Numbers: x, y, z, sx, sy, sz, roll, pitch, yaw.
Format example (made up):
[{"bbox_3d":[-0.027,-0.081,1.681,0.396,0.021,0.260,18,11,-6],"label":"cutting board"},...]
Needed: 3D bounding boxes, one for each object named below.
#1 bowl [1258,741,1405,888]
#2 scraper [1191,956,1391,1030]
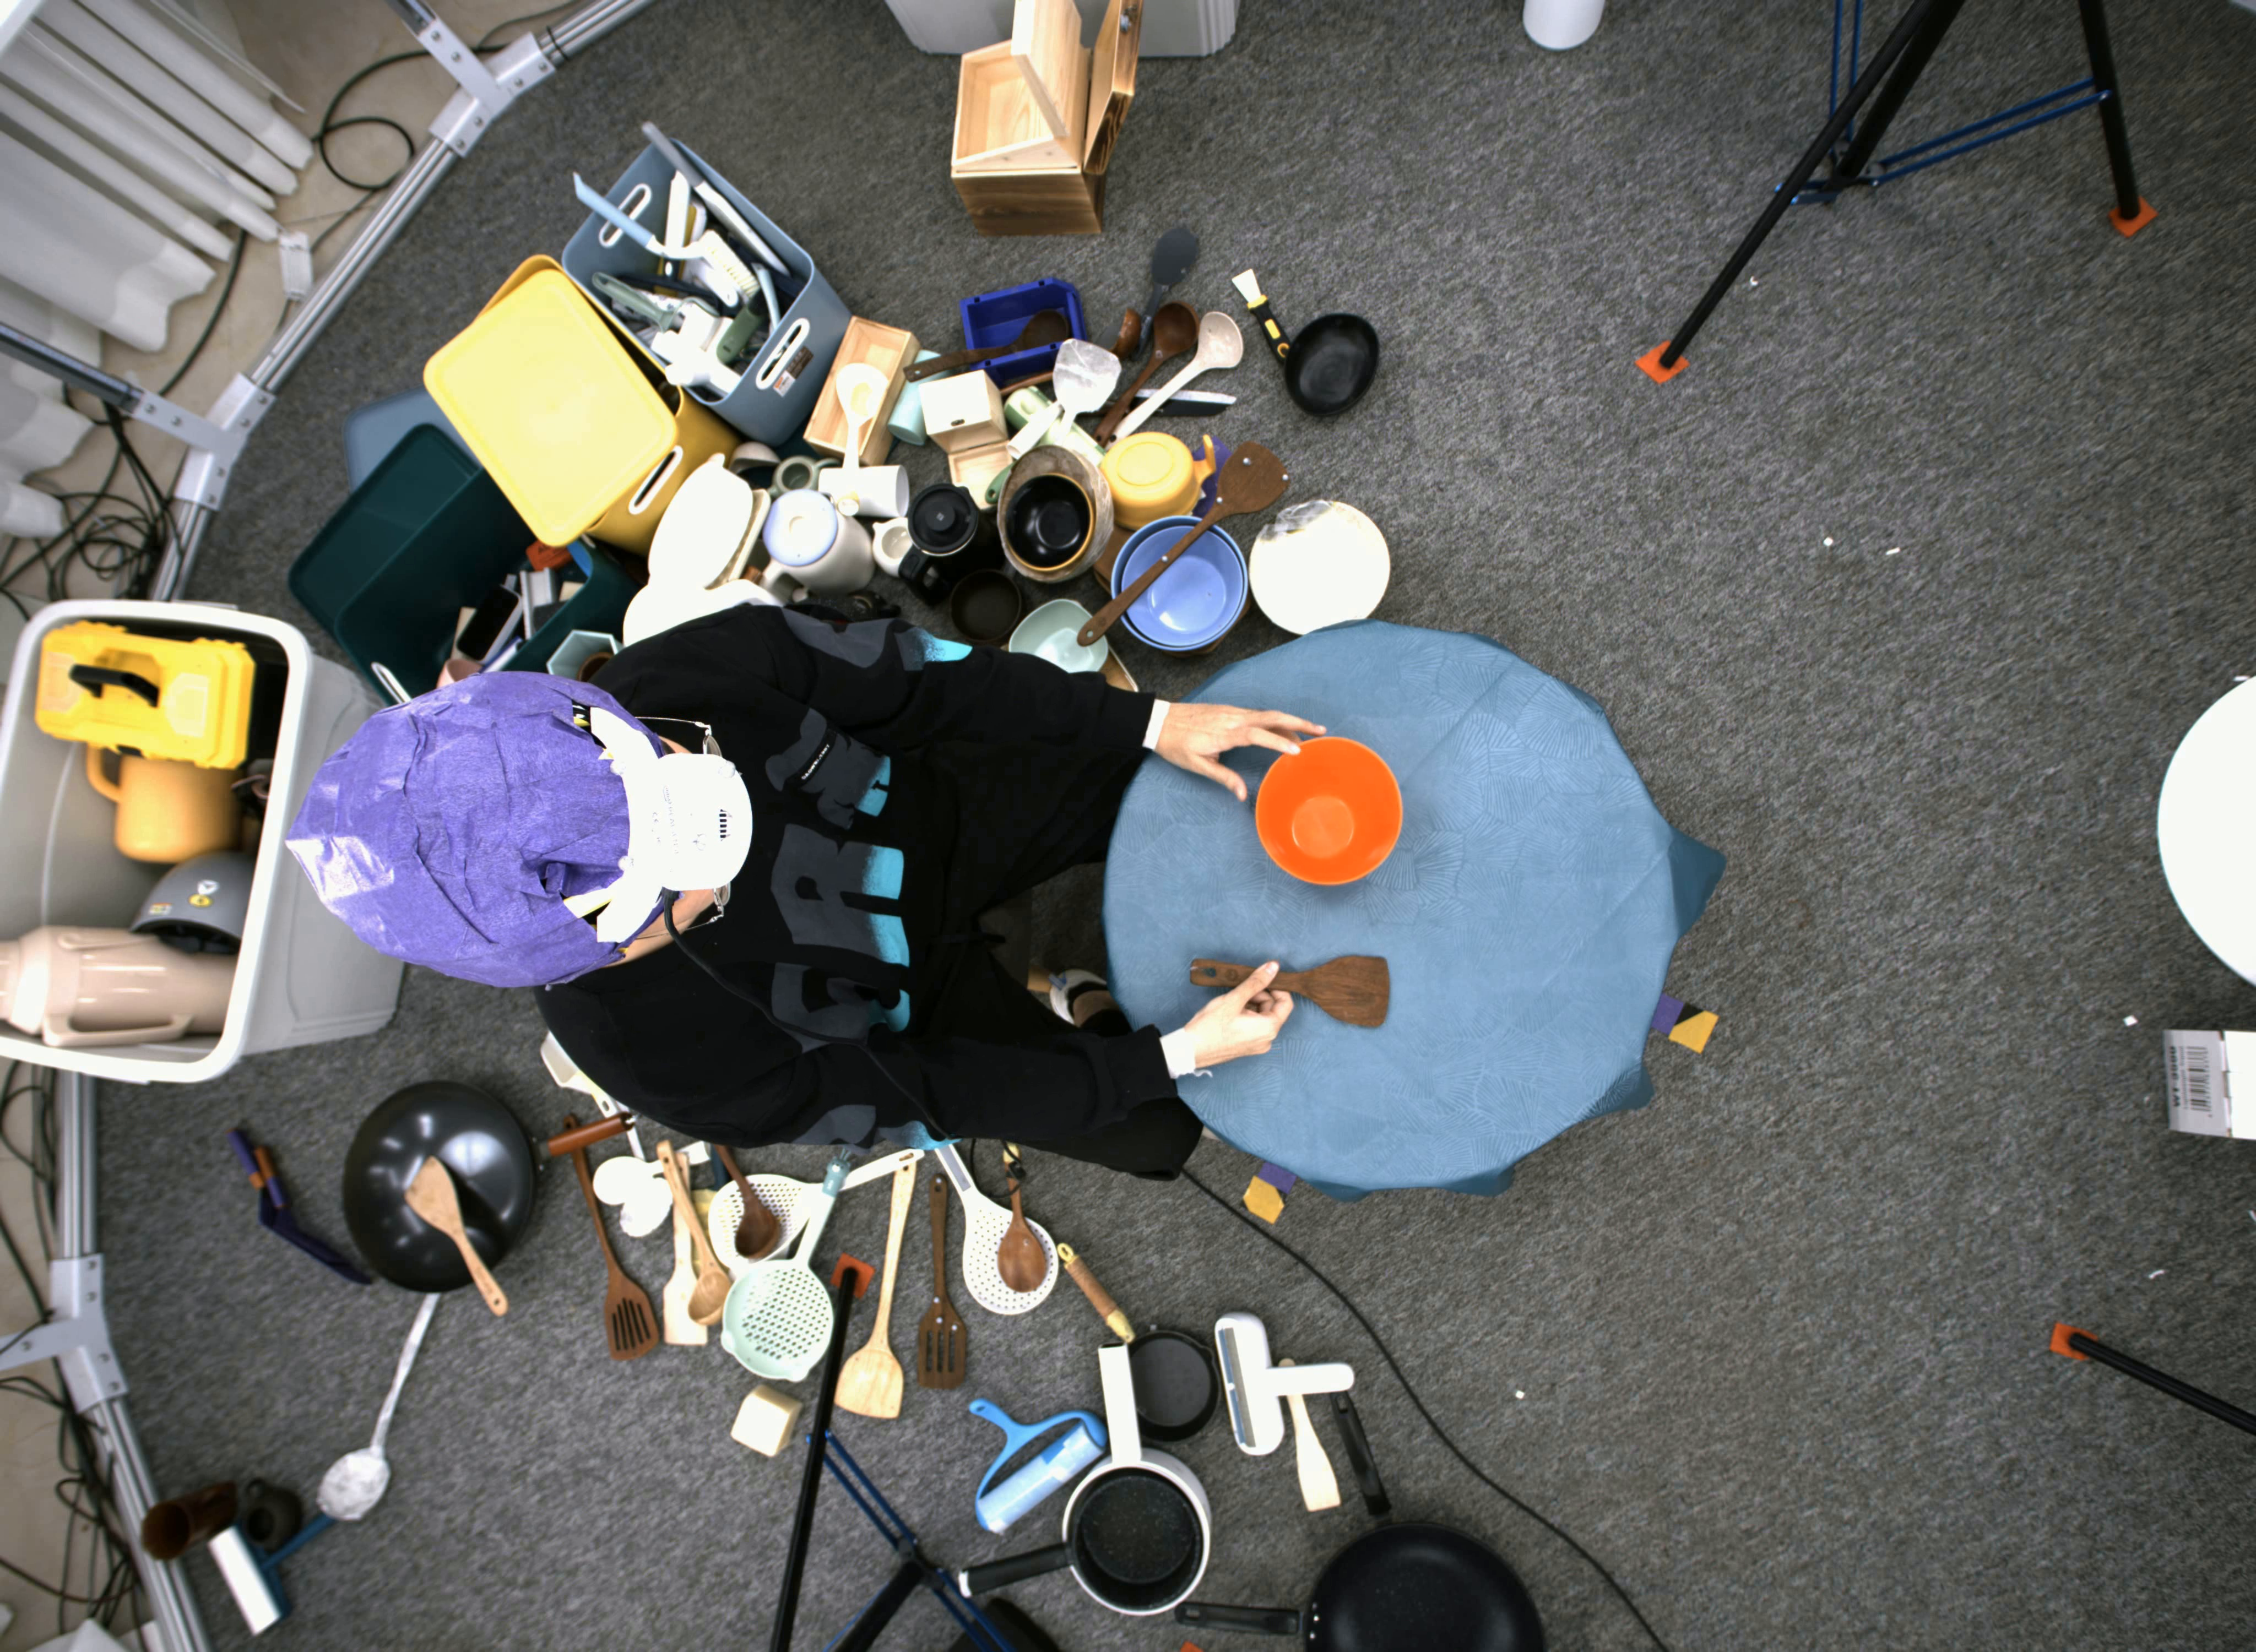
[{"bbox_3d":[0.212,-0.008,1.431,0.148,0.104,0.147,-1,86,11],"label":"bowl"},{"bbox_3d":[0.171,0.164,1.455,0.211,0.011,0.075,7,84,-1],"label":"scraper"}]
